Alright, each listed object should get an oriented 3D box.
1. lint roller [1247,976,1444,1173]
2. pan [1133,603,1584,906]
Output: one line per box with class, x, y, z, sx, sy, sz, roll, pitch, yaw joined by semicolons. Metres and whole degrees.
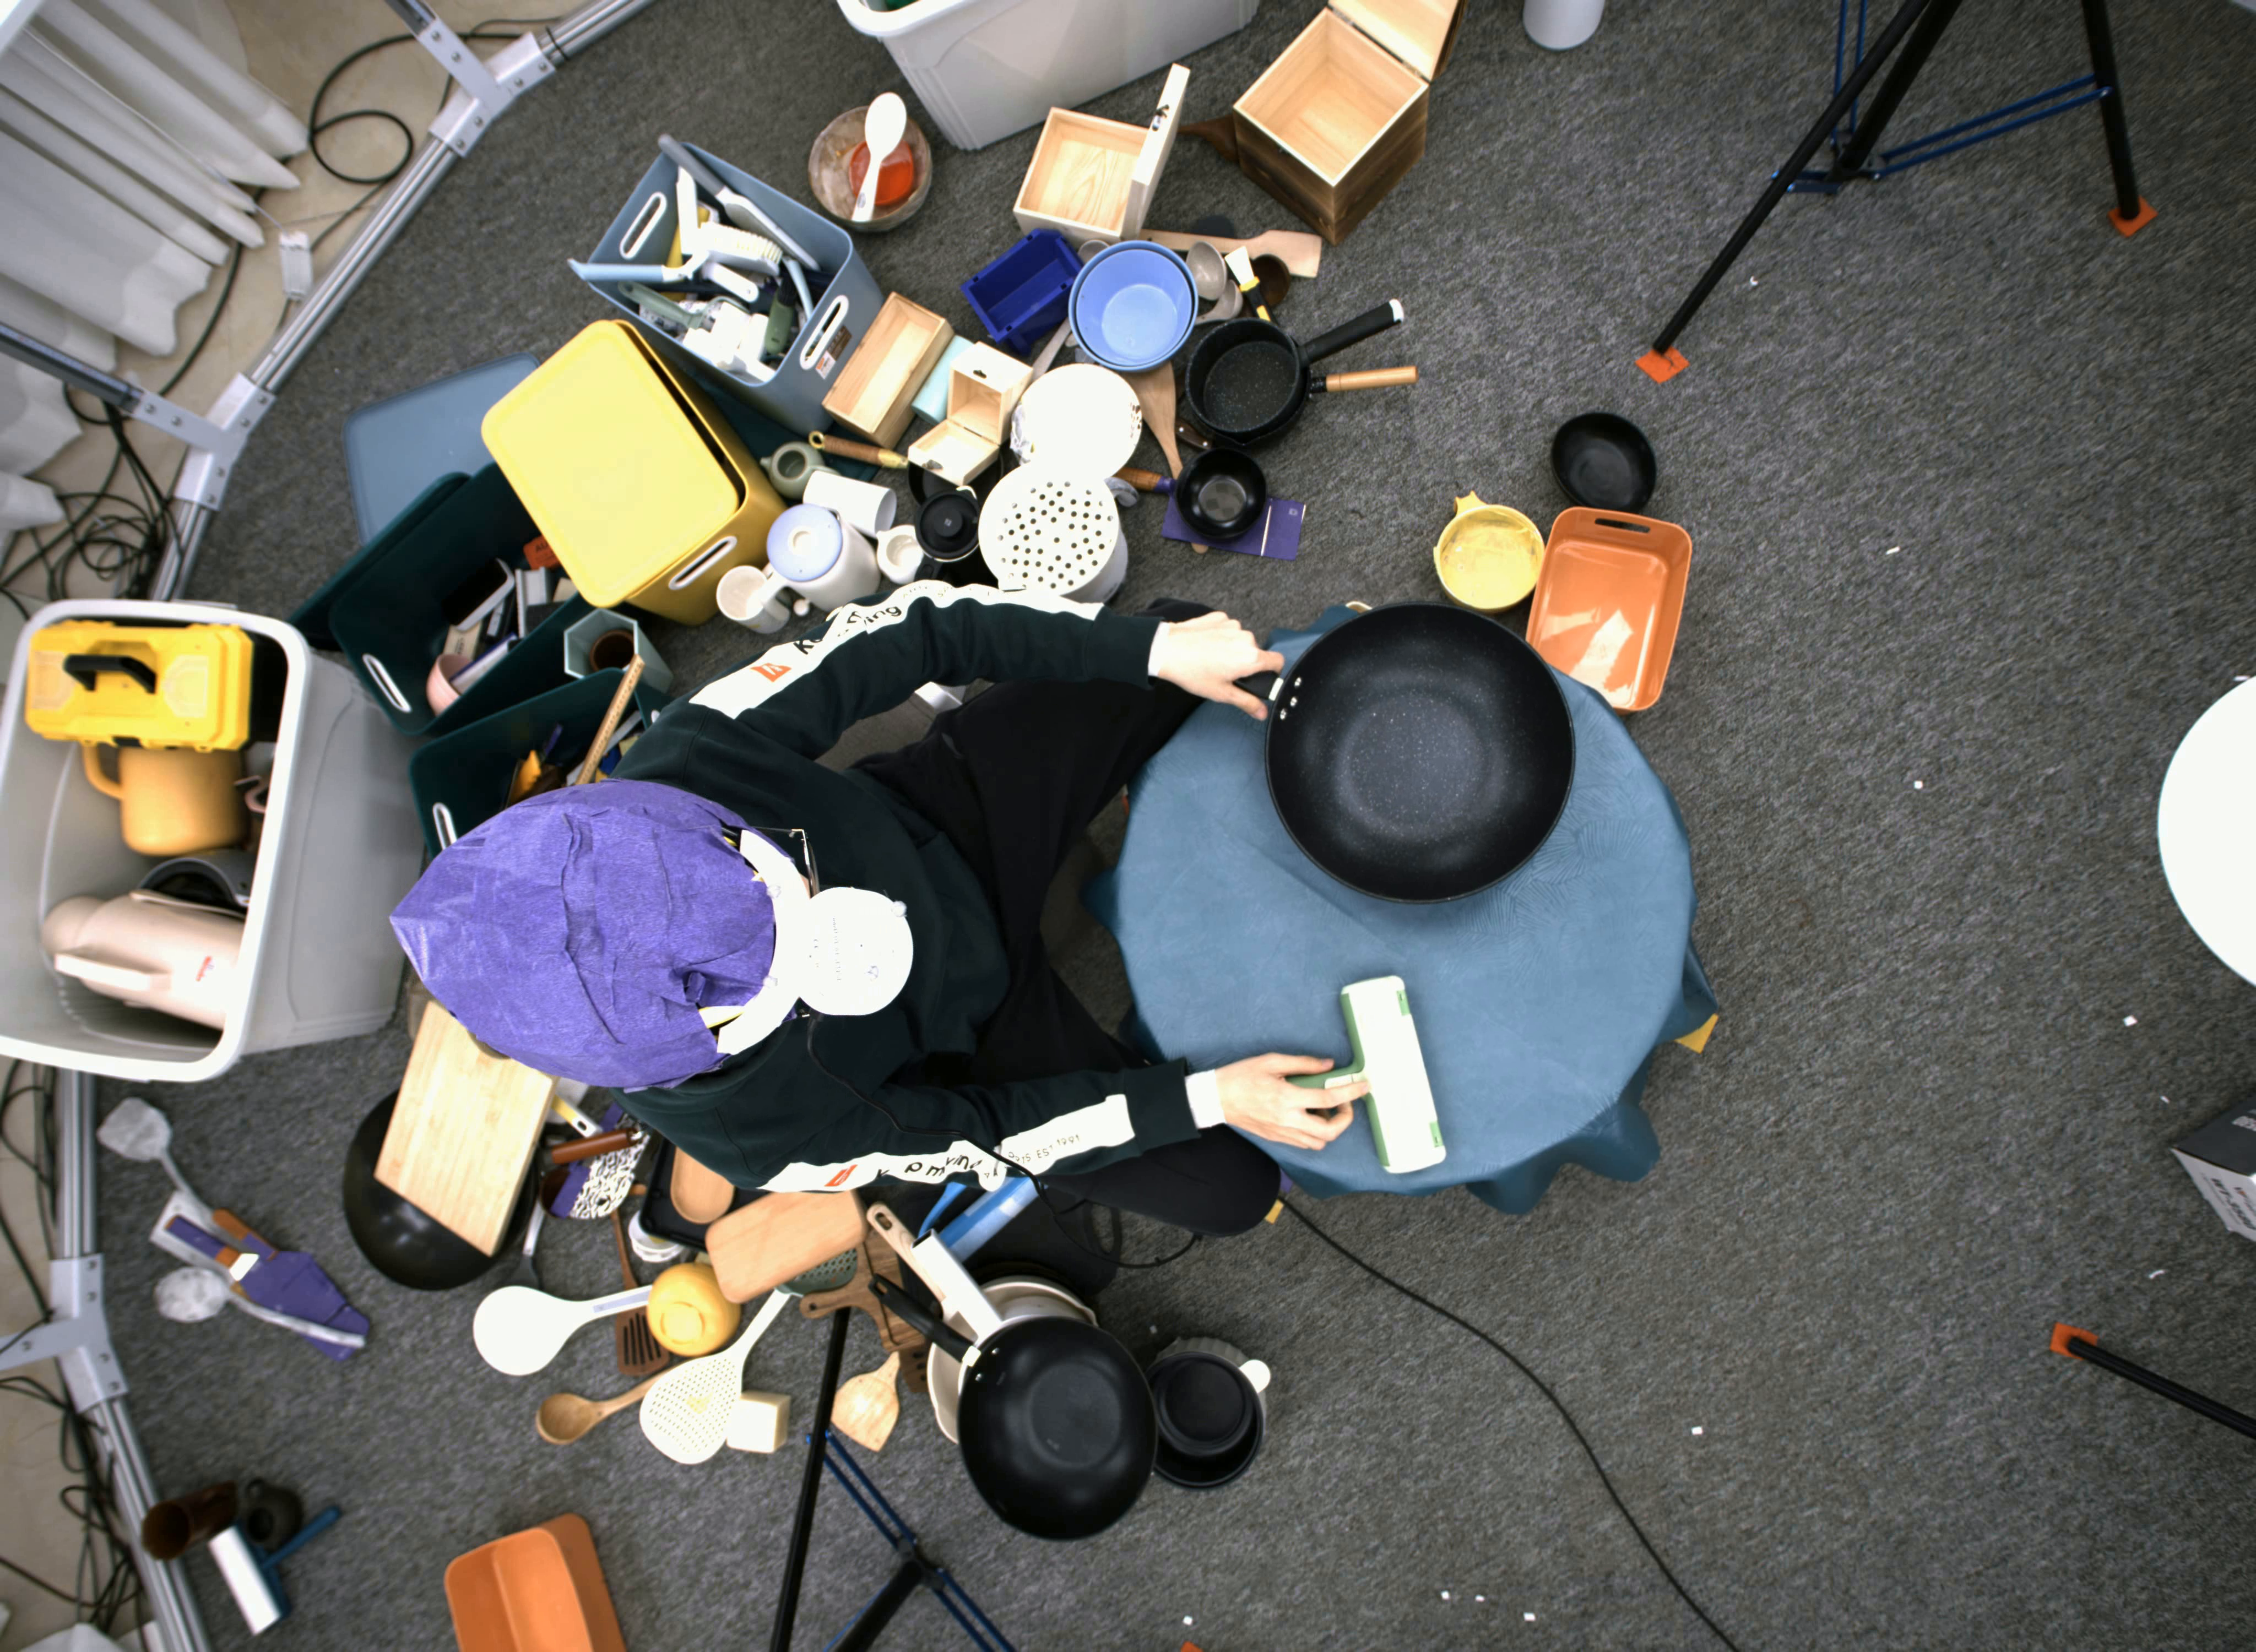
lint roller;0.212;0.265;1.417;0.184;0.082;0.197;-13;85;4
pan;0.228;-0.107;1.418;0.476;0.112;0.310;25;90;10
